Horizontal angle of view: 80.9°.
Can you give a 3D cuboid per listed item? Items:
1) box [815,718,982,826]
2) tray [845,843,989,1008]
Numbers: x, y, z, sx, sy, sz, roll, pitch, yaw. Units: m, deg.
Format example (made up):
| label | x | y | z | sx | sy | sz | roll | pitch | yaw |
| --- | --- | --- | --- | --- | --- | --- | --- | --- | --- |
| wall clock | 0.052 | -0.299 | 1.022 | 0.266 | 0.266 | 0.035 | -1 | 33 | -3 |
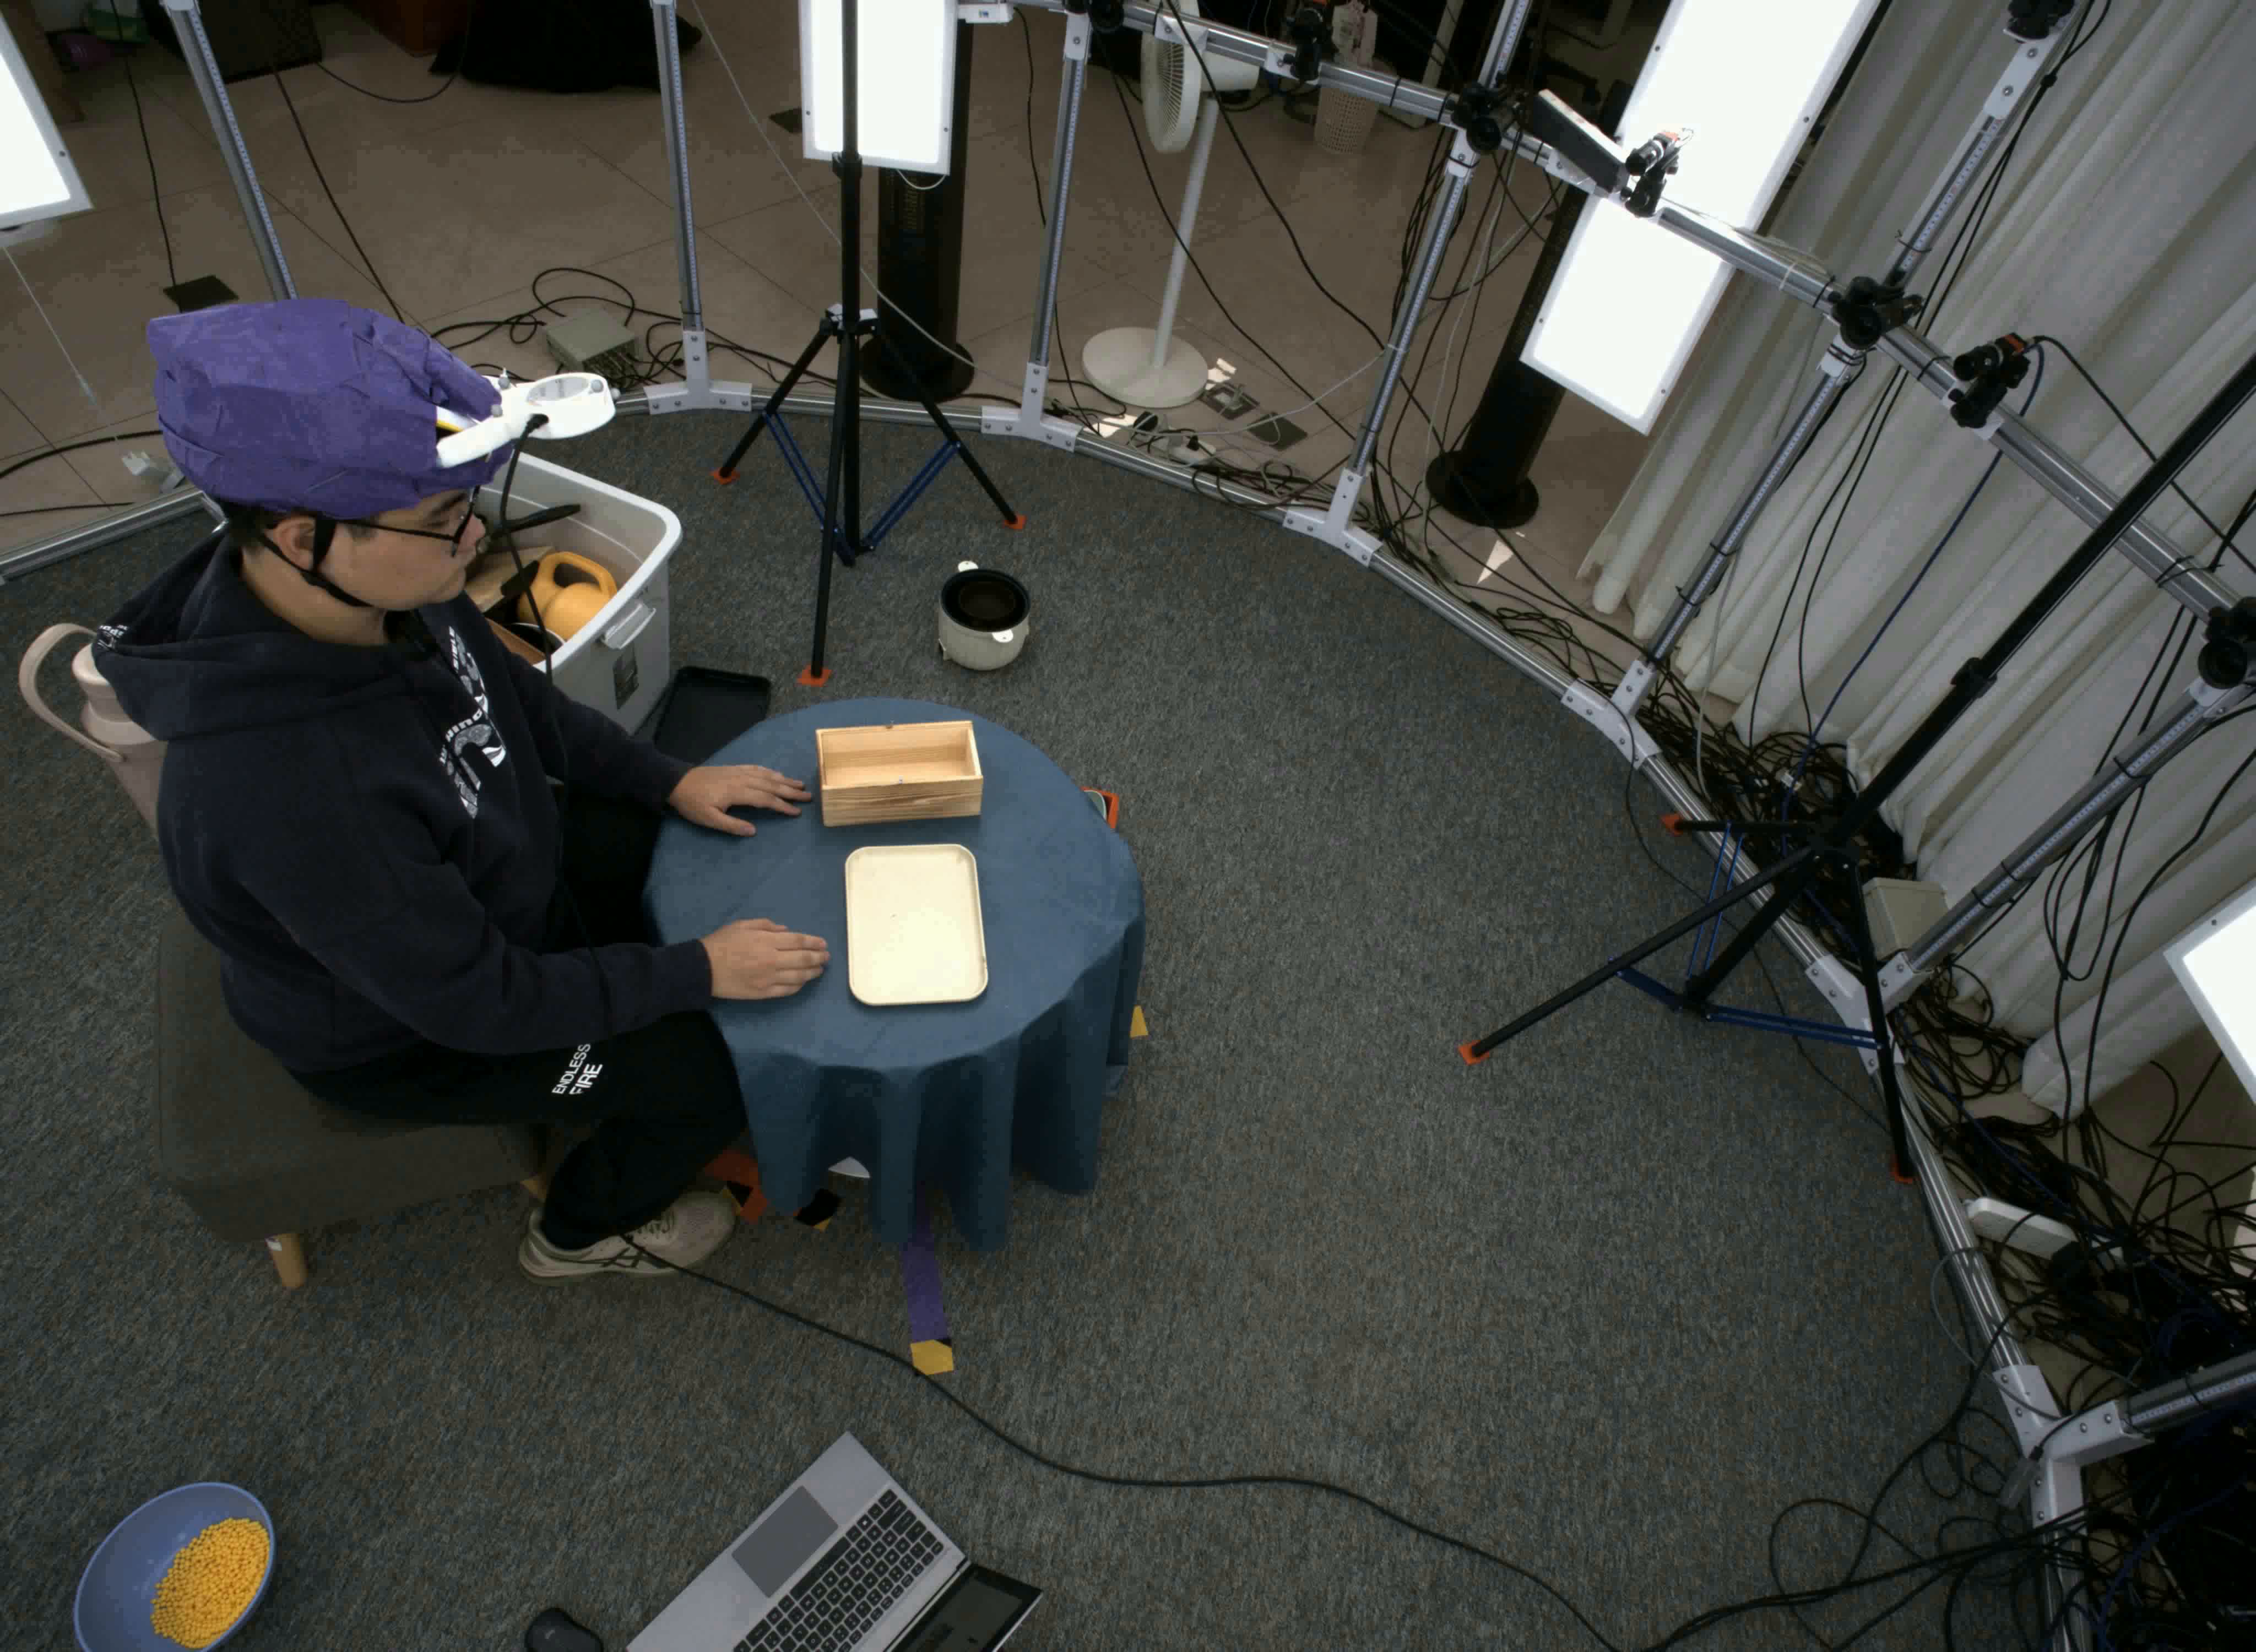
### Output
| label | x | y | z | sx | sy | sz | roll | pitch | yaw |
| --- | --- | --- | --- | --- | --- | --- | --- | --- | --- |
| box | -0.310 | -0.074 | 1.753 | 0.212 | 0.082 | 0.105 | -5 | 54 | -17 |
| tray | -0.270 | 0.123 | 1.655 | 0.171 | 0.018 | 0.234 | -2 | 54 | -14 |
